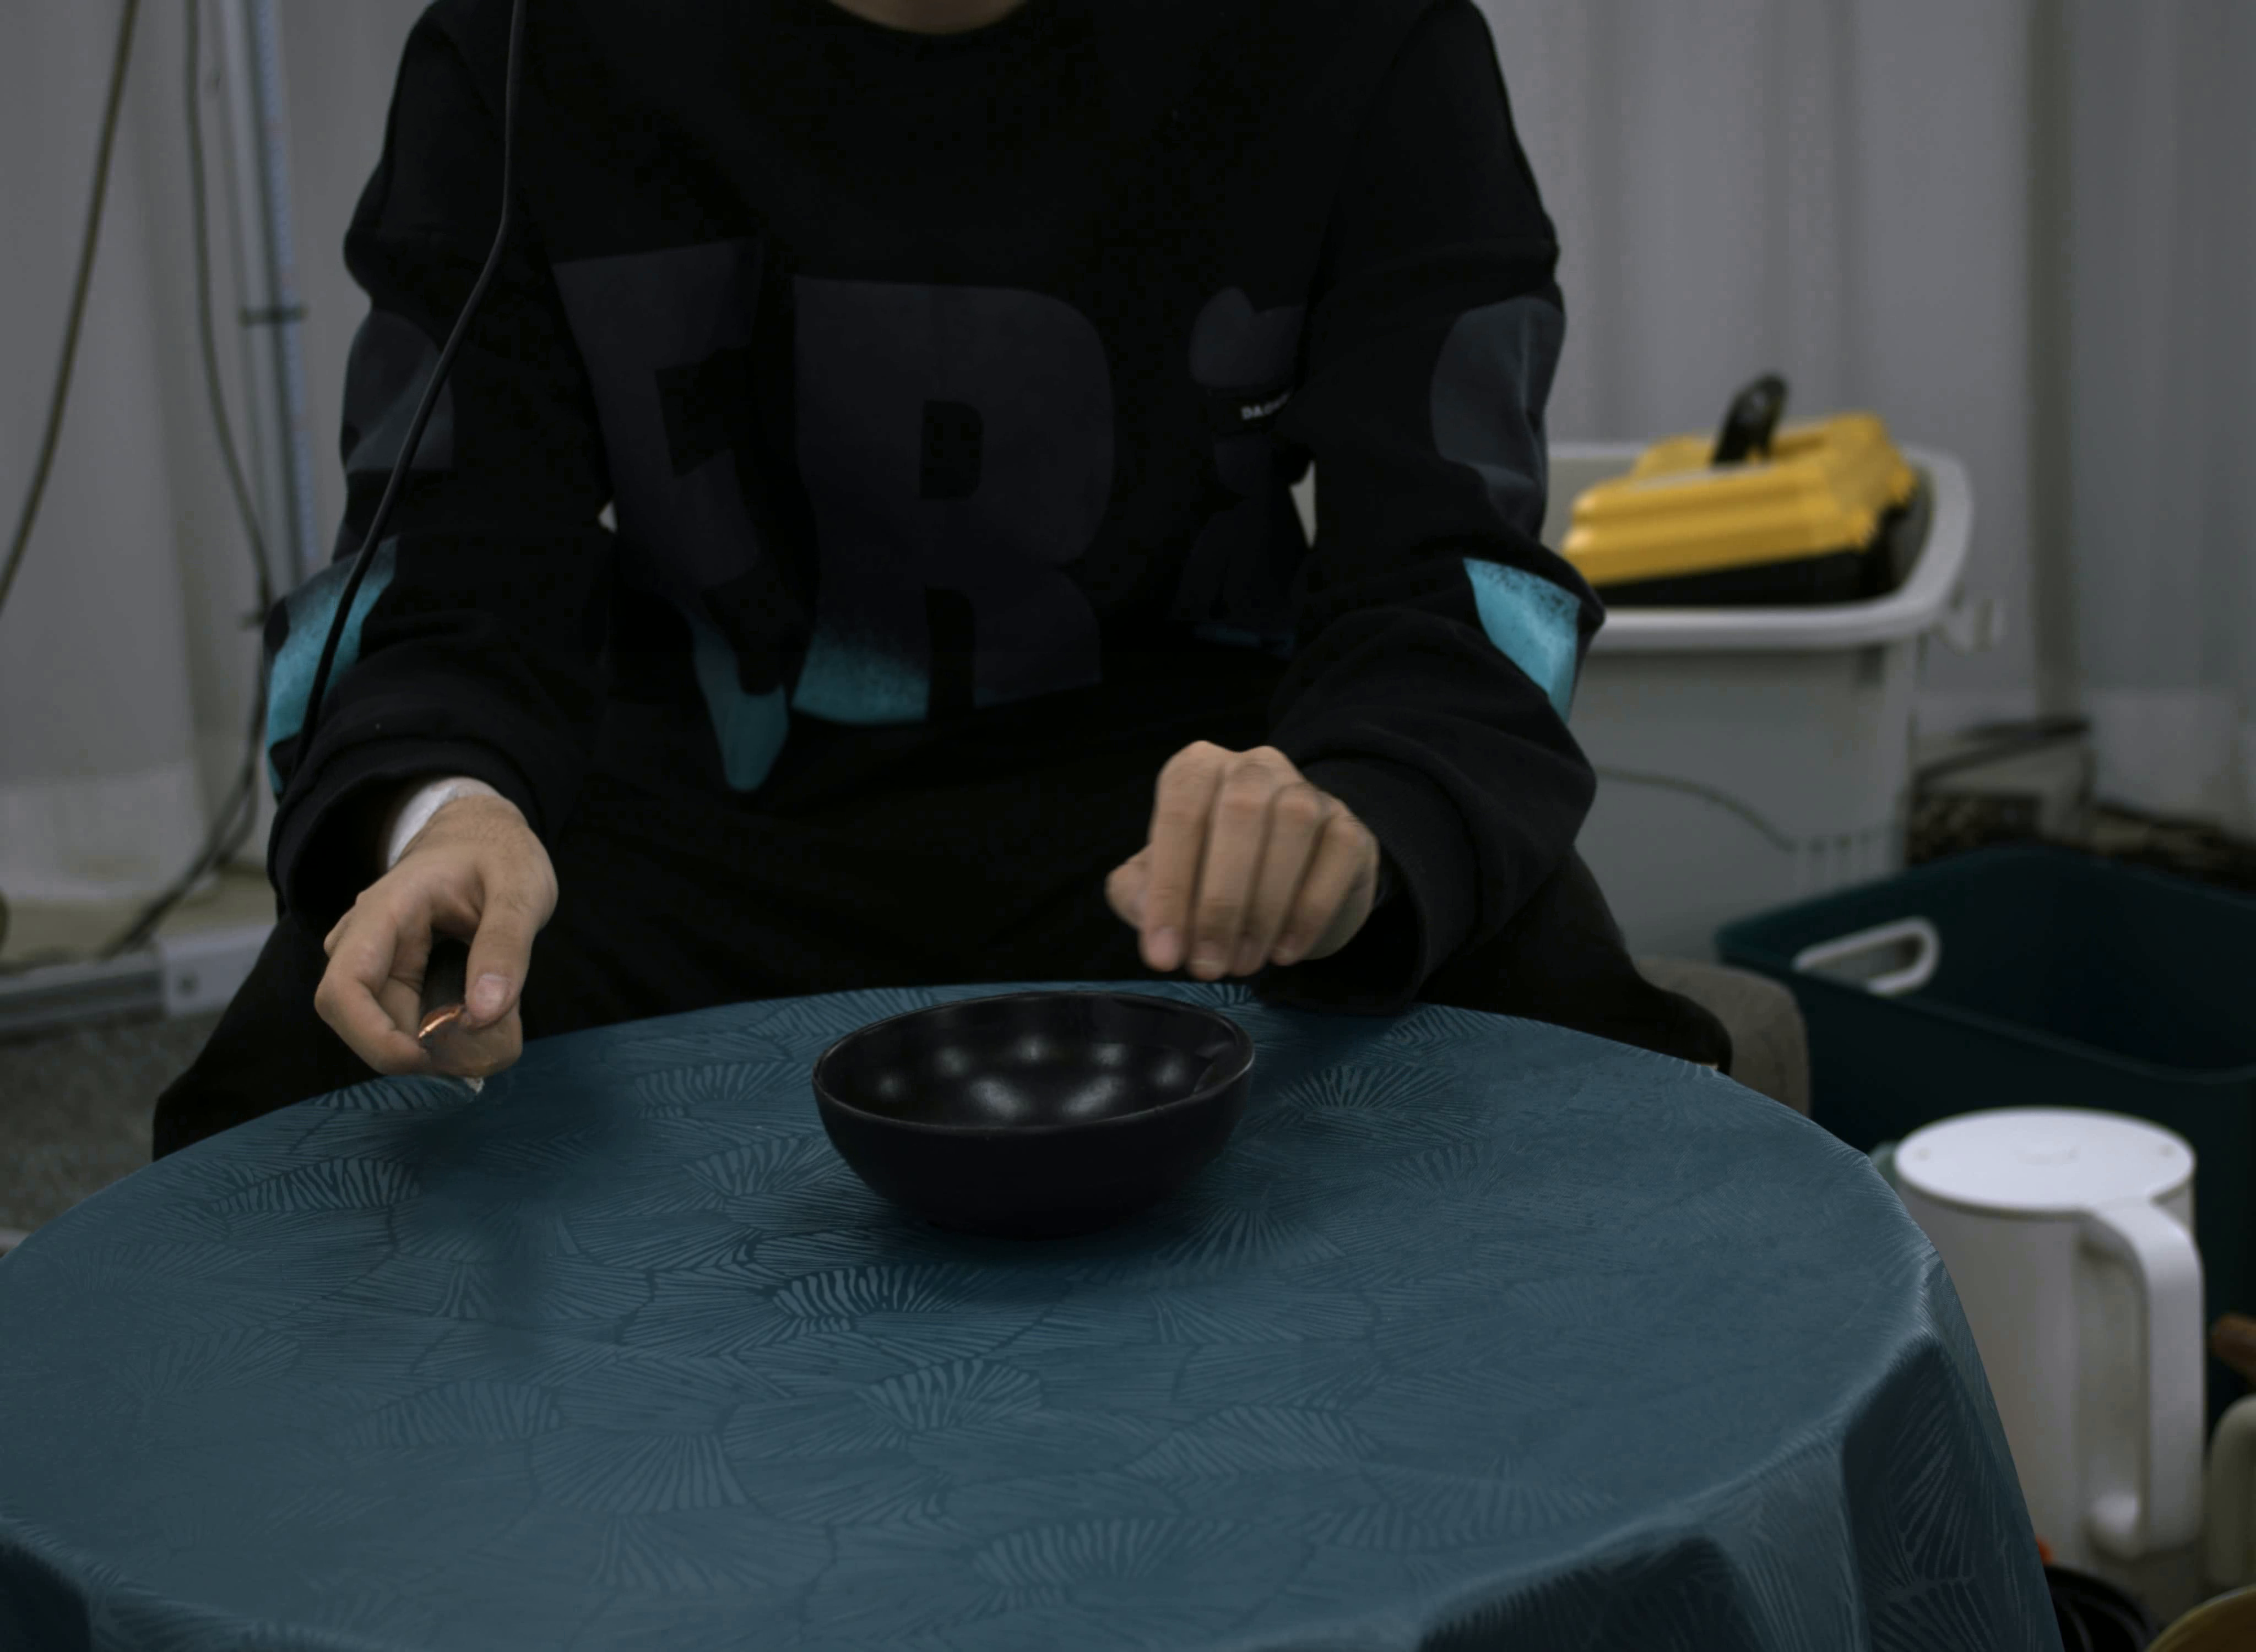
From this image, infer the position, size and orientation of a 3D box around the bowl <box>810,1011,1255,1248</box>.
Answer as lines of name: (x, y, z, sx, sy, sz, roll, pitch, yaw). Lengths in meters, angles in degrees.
bowl: (-0.028, 0.098, 1.699, 0.139, 0.049, 0.141, -5, 11, 1)

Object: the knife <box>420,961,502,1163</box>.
knife: (-0.209, 0.073, 1.713, 0.026, 0.017, 0.227, 25, 7, -11)
